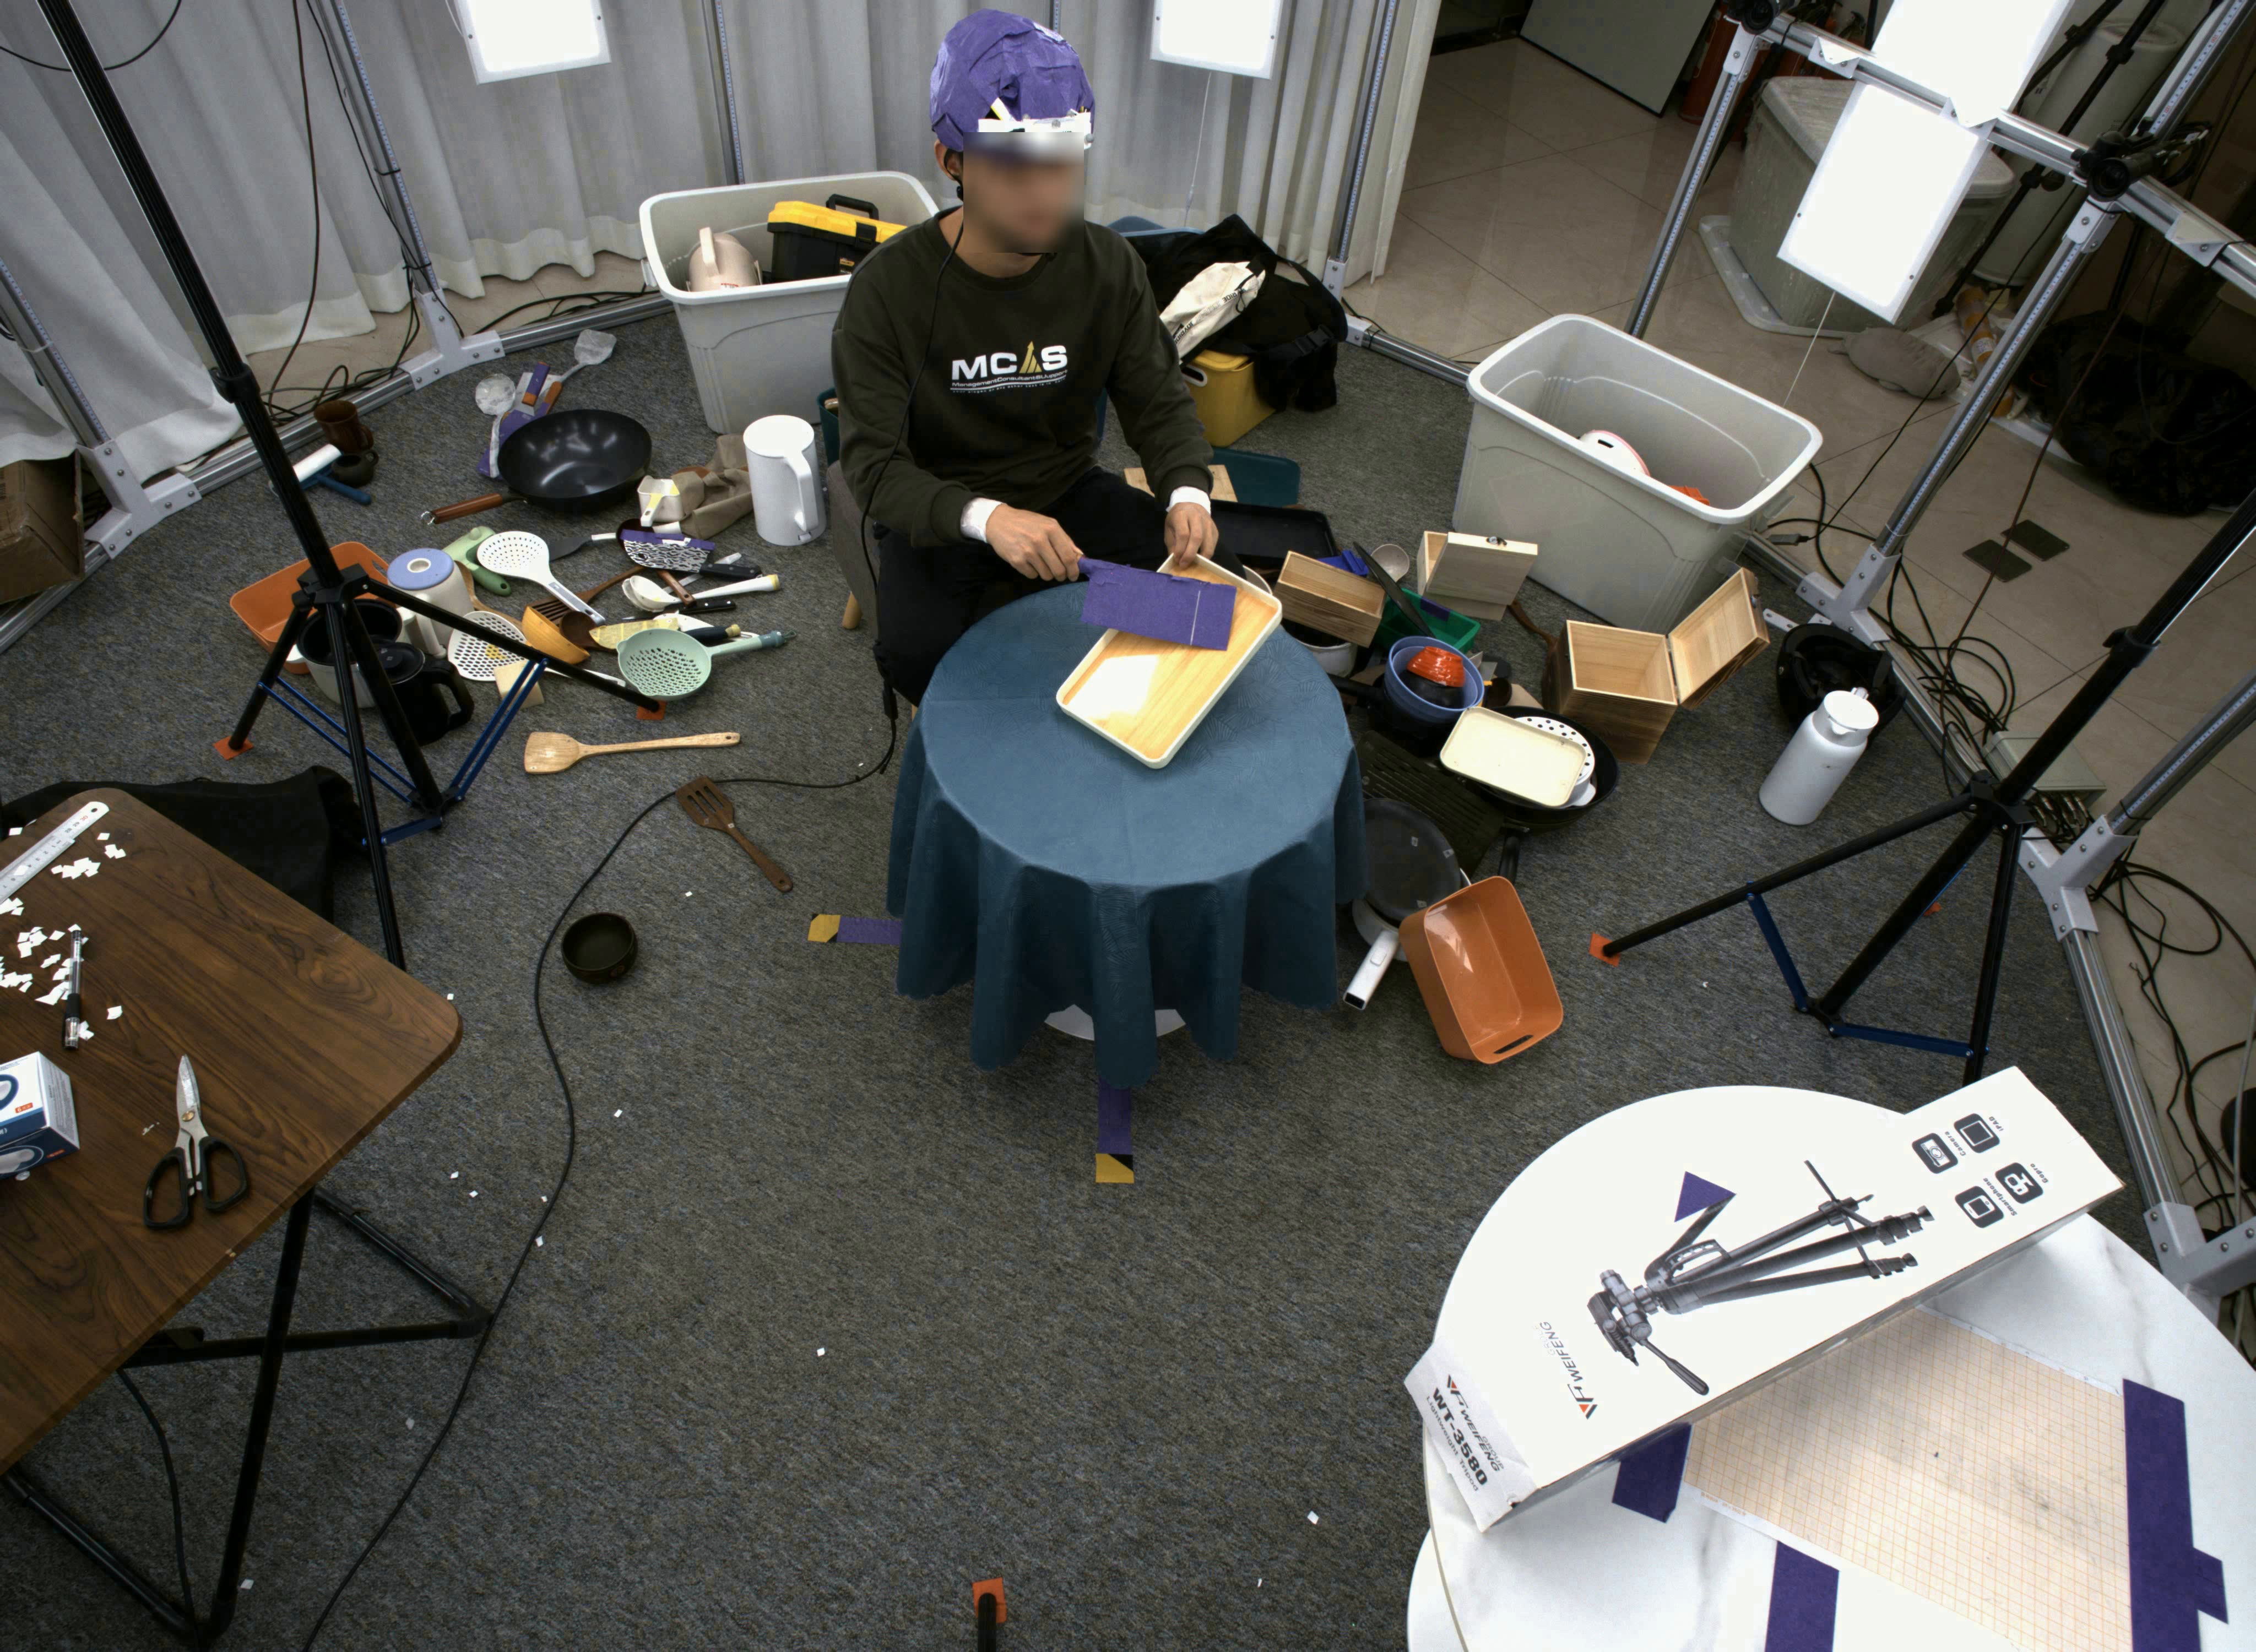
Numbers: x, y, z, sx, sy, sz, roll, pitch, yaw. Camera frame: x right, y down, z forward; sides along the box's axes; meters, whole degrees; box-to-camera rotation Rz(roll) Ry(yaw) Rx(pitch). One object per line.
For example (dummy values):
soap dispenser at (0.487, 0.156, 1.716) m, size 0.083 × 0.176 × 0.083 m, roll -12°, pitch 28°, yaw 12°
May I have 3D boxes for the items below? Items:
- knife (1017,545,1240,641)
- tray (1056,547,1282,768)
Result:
knife at (-0.005, -0.321, 1.789) m, size 0.315 × 0.032 × 0.104 m, roll 11°, pitch 87°, yaw 4°
tray at (0.058, -0.240, 1.793) m, size 0.194 × 0.027 × 0.302 m, roll 33°, pitch 76°, yaw 23°
